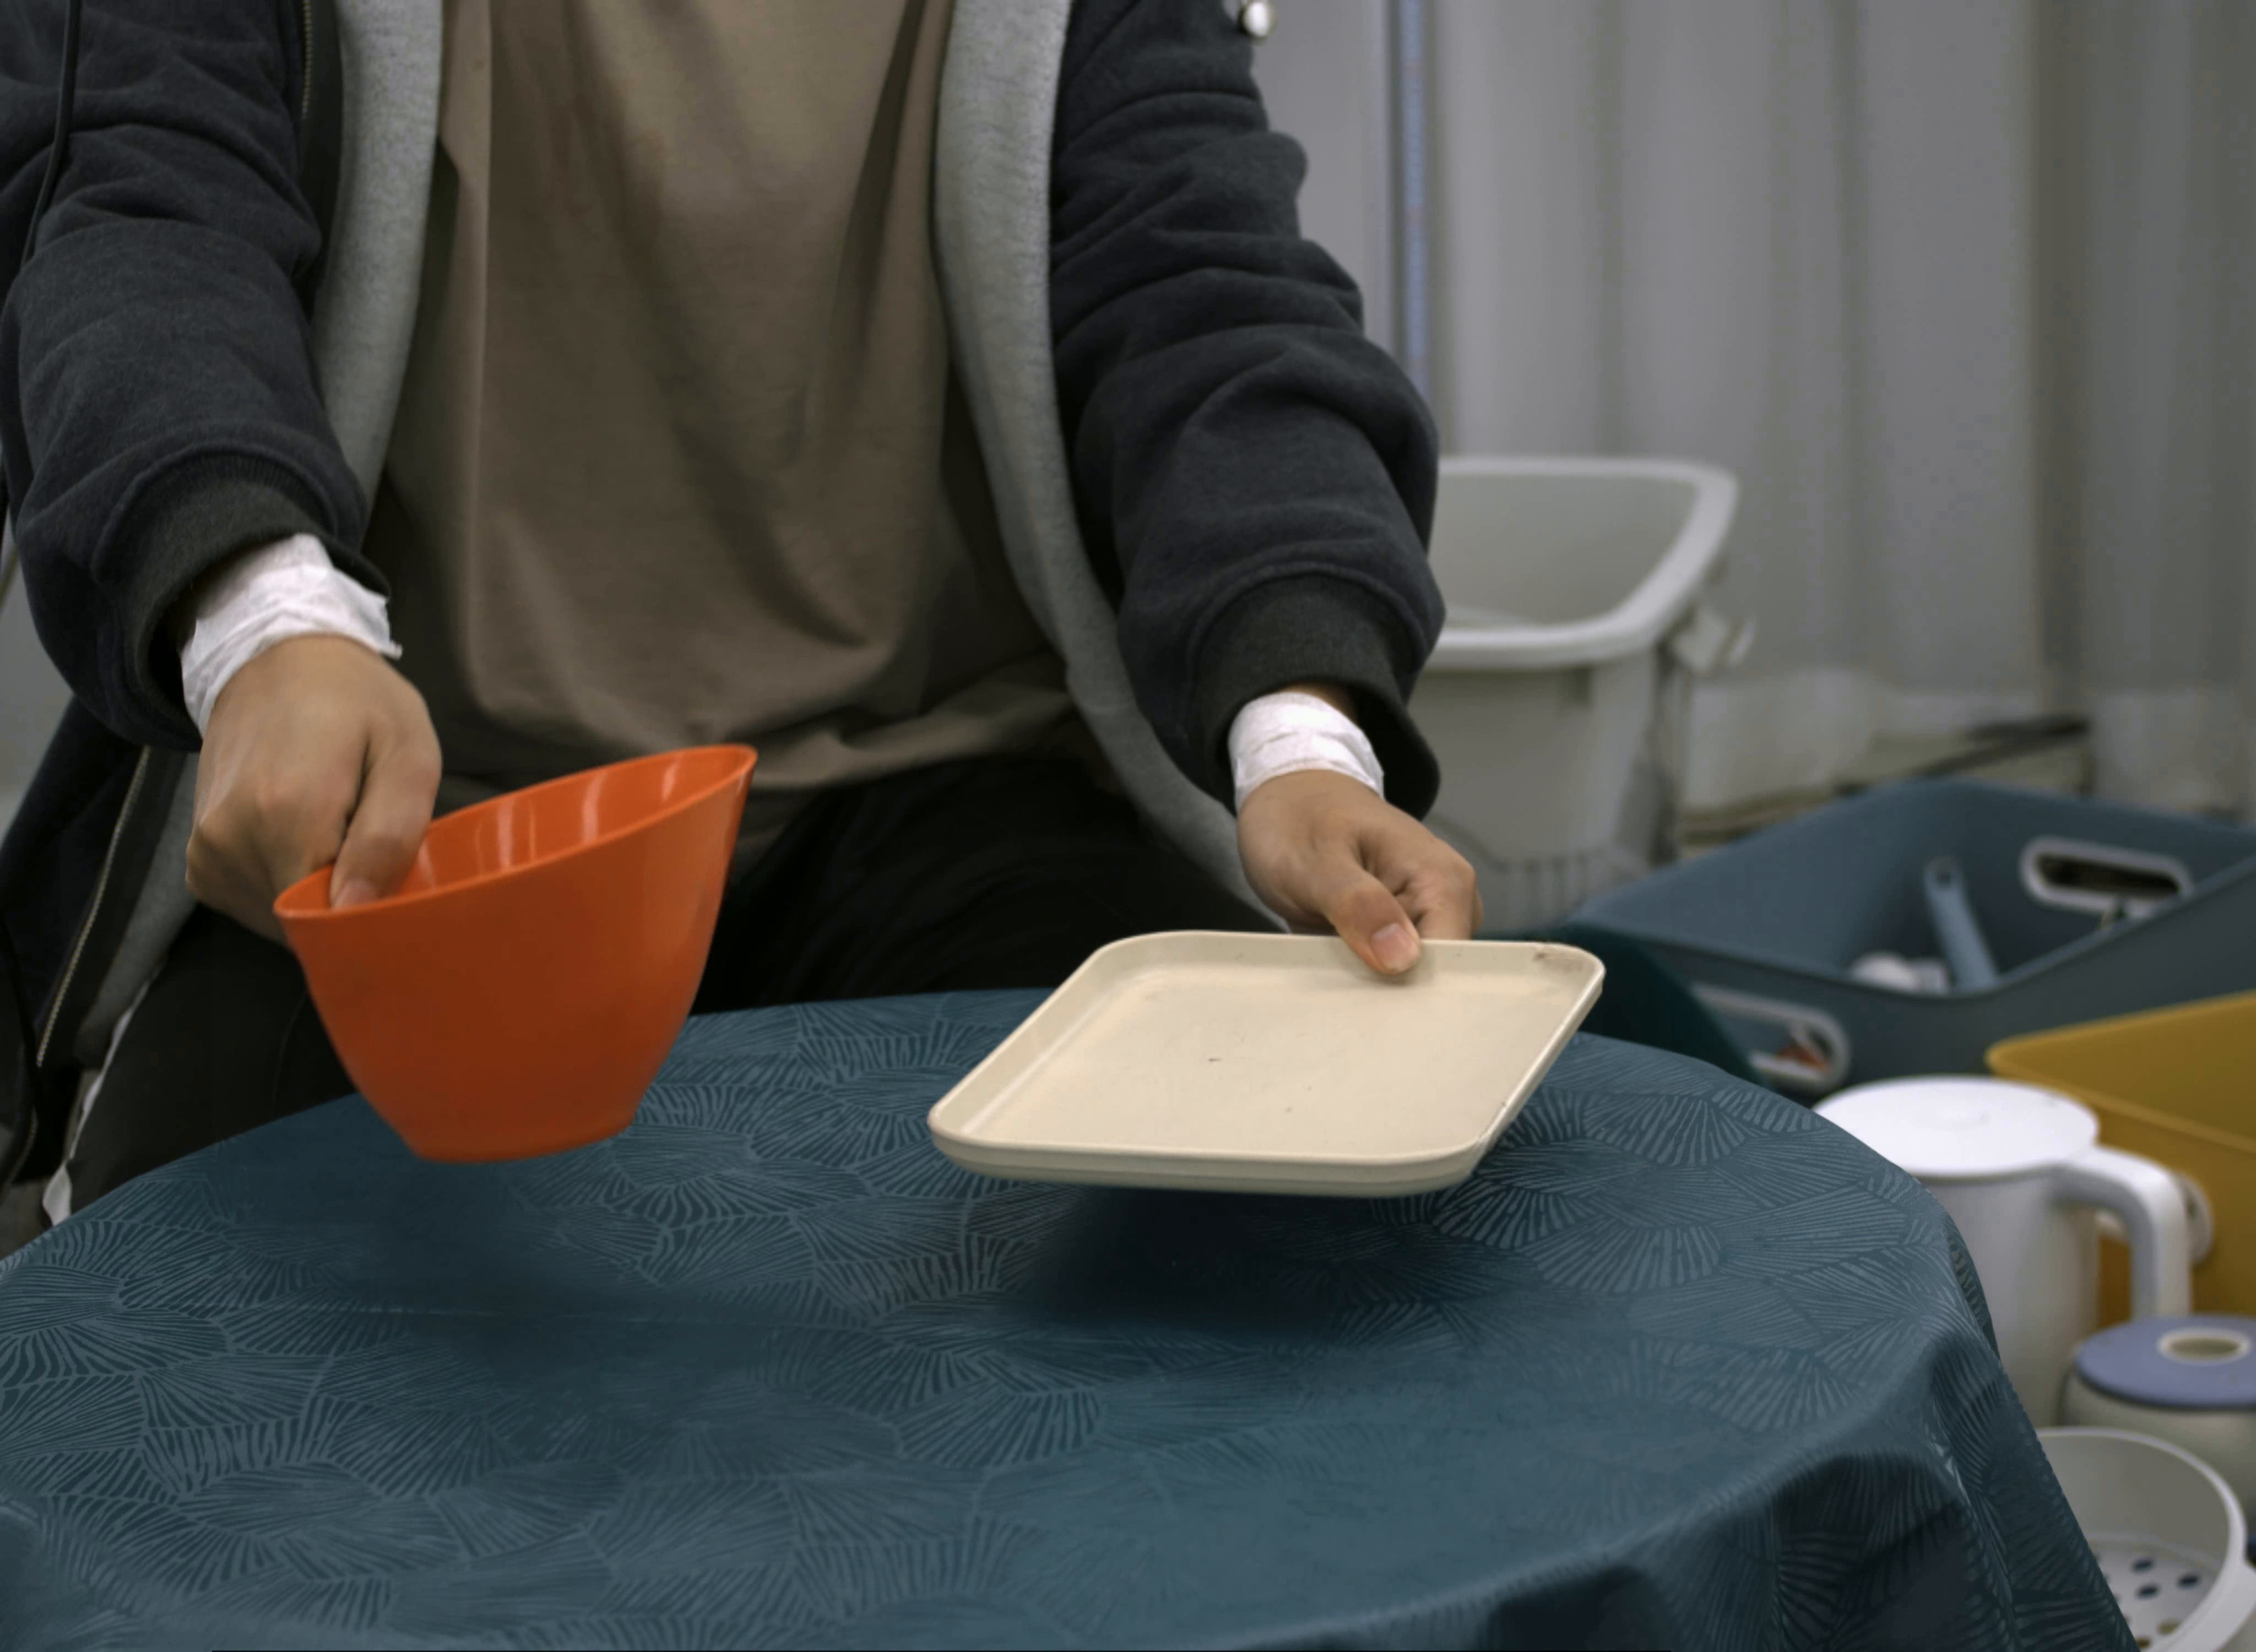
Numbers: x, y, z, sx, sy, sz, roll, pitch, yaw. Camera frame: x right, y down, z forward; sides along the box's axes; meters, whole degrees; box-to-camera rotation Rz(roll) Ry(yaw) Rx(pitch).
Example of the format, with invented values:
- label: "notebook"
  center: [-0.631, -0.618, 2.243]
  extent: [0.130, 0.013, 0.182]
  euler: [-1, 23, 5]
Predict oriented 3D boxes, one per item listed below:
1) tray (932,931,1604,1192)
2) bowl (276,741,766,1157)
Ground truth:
- label: "tray"
  center: [0.047, 0.071, 1.679]
  extent: [0.171, 0.017, 0.240]
  euler: [1, 14, 16]
- label: "bowl"
  center: [-0.174, 0.038, 1.615]
  extent: [0.147, 0.104, 0.149]
  euler: [-6, 11, 1]
